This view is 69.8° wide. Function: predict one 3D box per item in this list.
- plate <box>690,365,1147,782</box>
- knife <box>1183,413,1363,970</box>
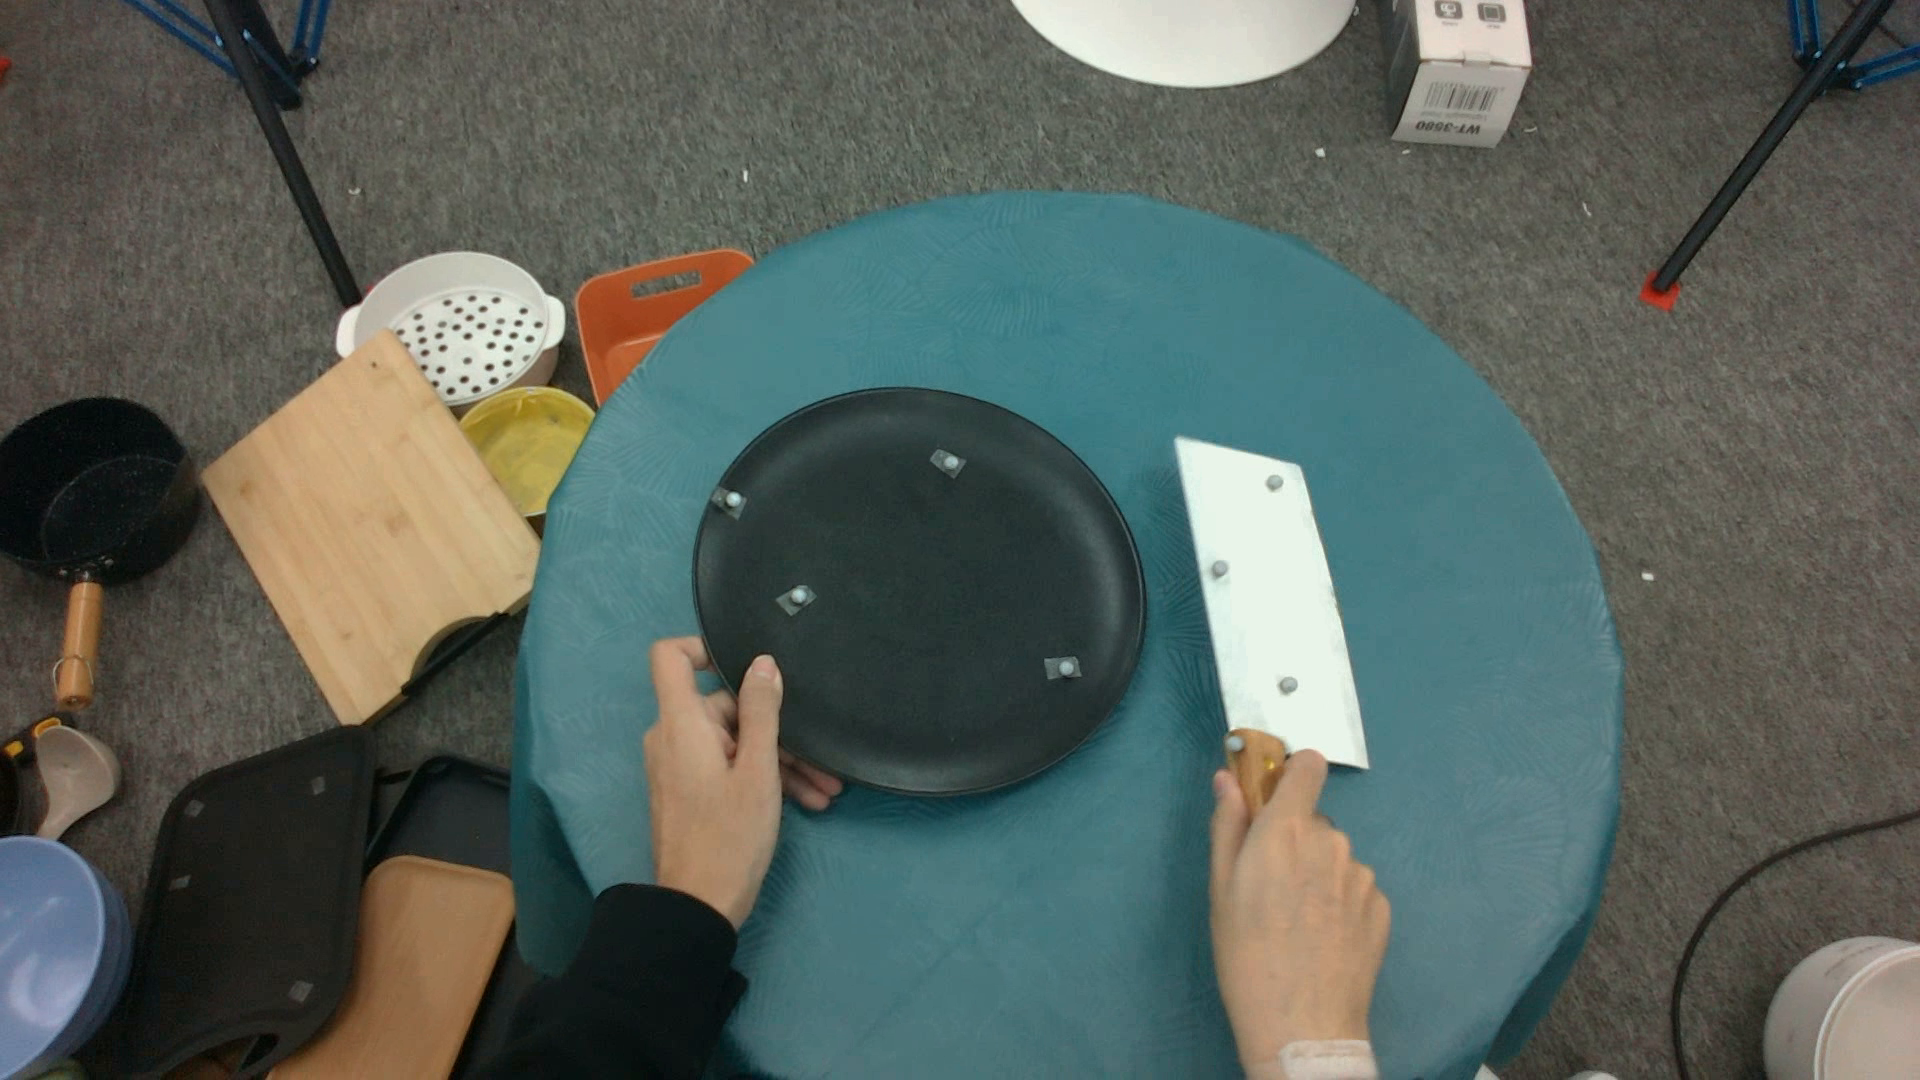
[{"bbox_3d":[-0.020,0.013,0.731,0.244,0.023,0.245,5,61,-10],"label":"plate"},{"bbox_3d":[0.169,0.067,0.712,0.093,0.021,0.307,14,56,-29],"label":"knife"}]
